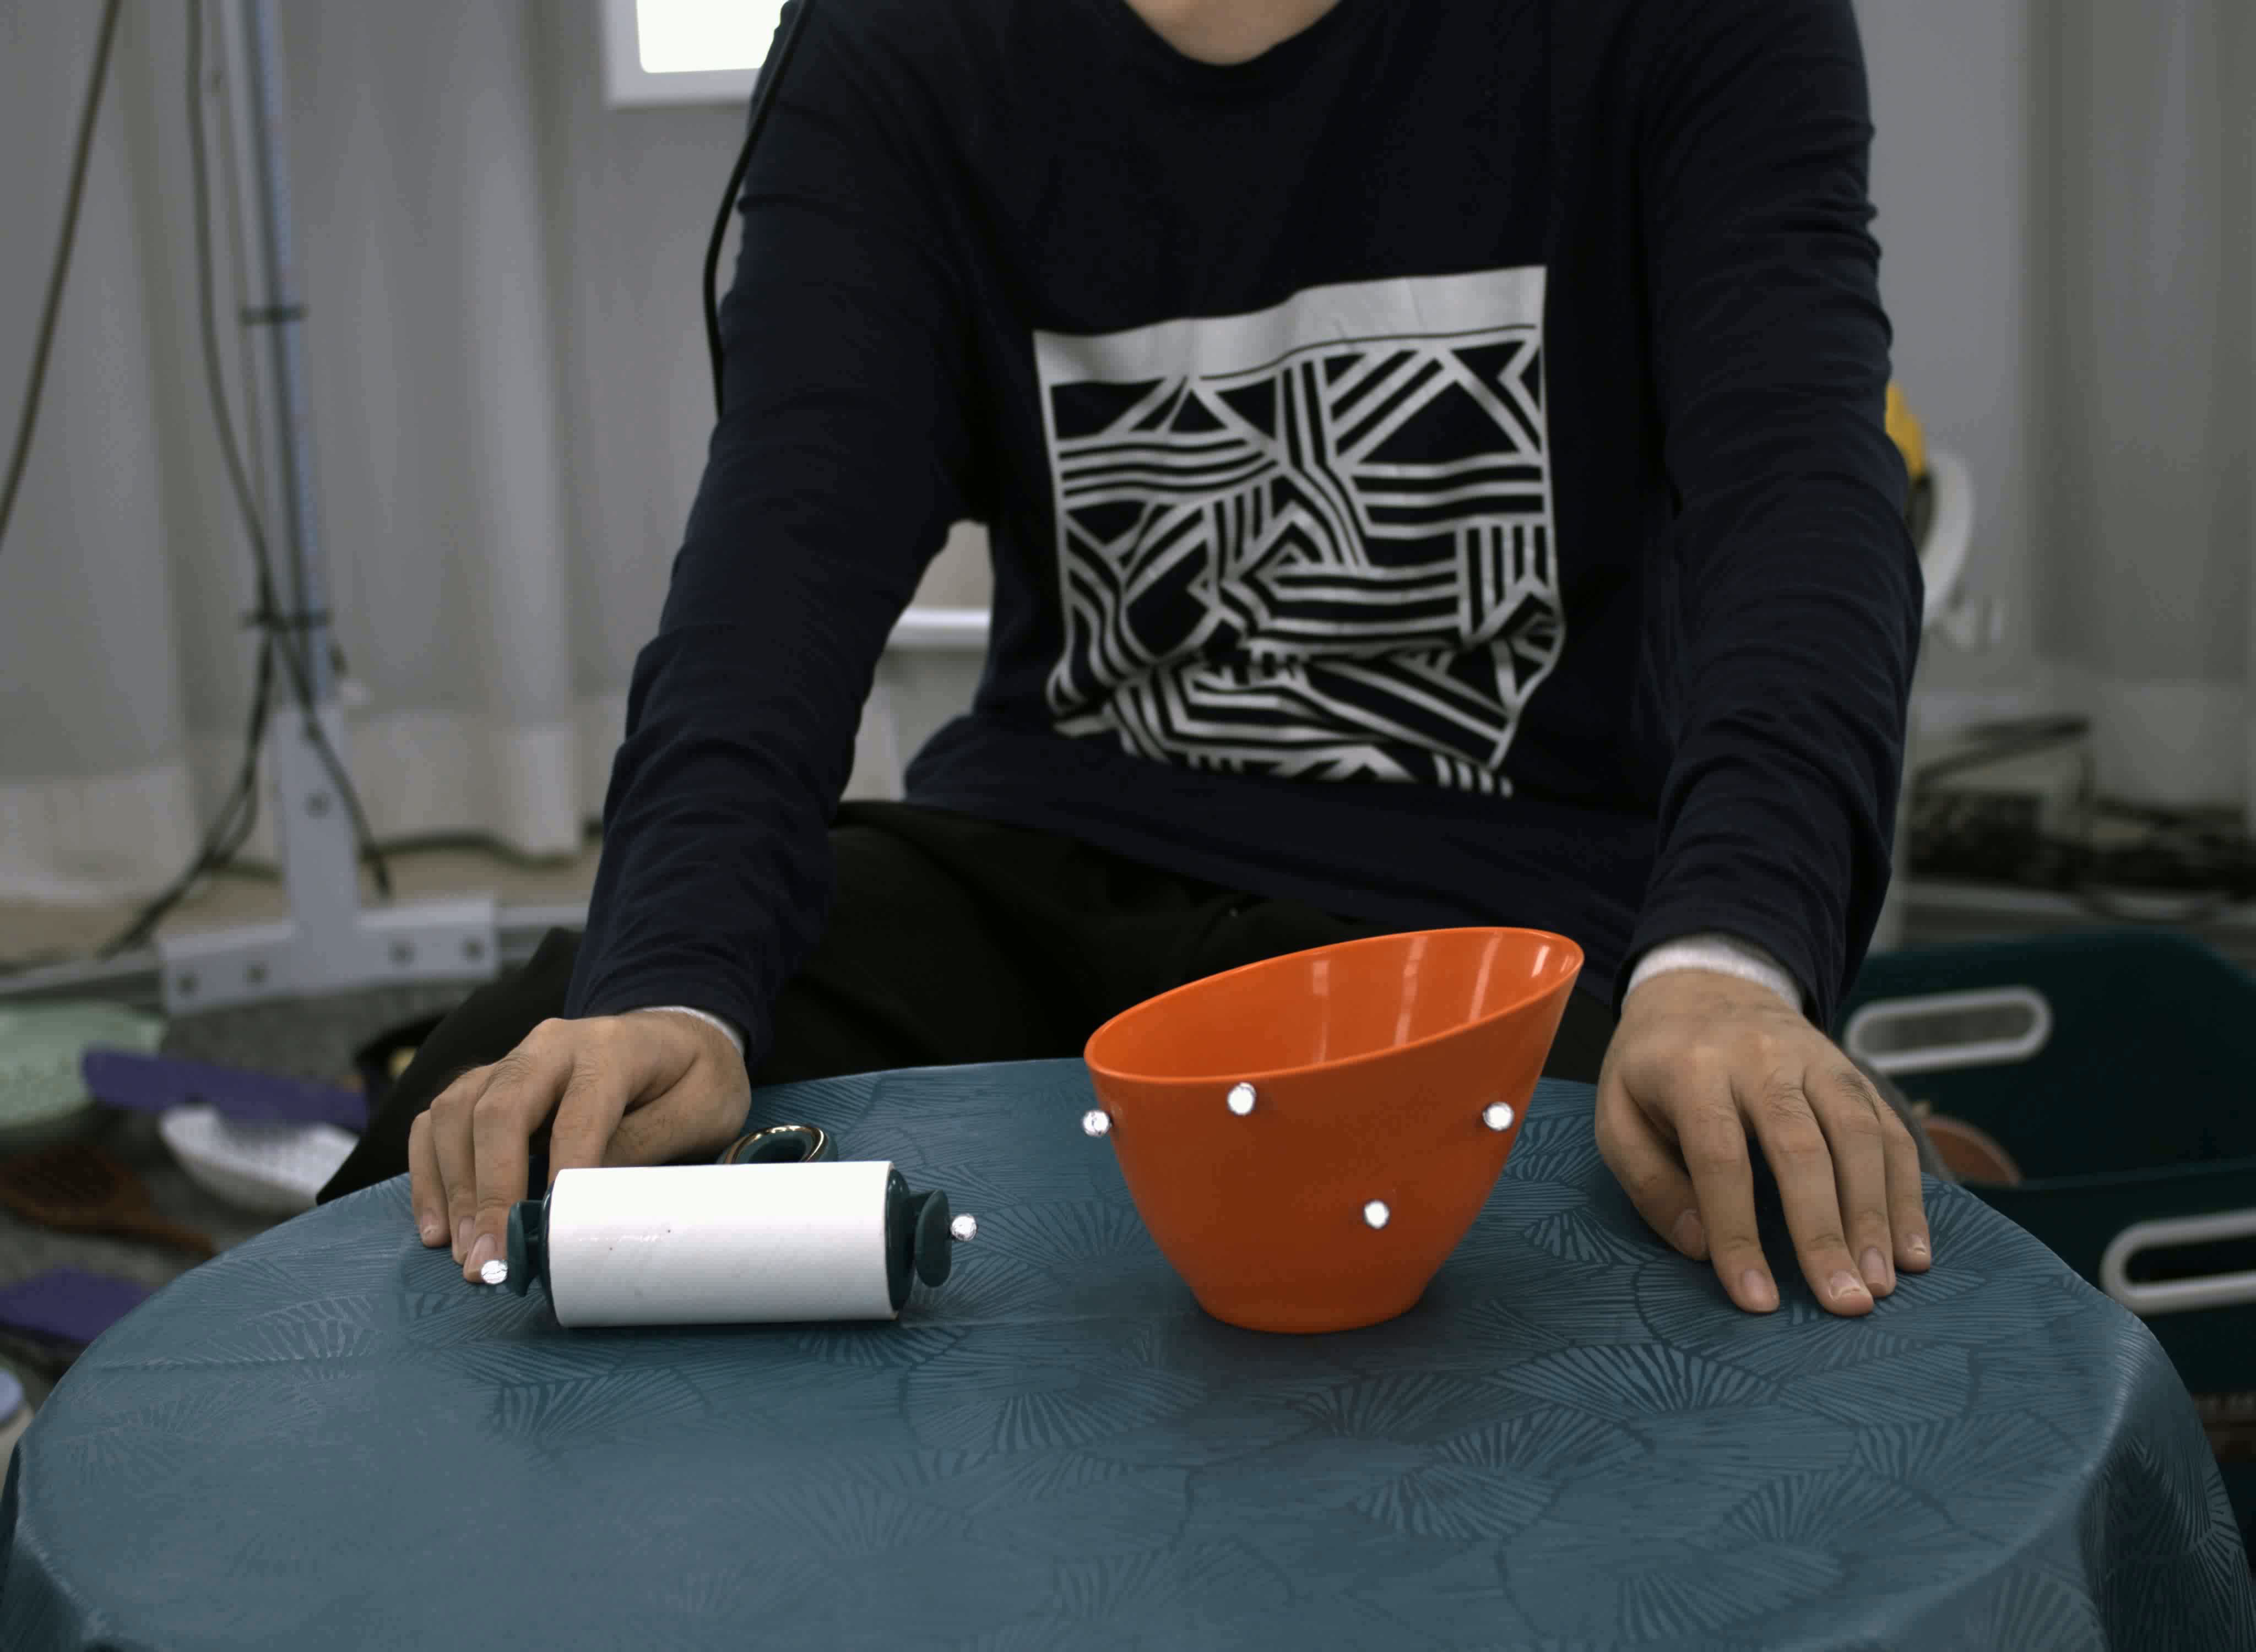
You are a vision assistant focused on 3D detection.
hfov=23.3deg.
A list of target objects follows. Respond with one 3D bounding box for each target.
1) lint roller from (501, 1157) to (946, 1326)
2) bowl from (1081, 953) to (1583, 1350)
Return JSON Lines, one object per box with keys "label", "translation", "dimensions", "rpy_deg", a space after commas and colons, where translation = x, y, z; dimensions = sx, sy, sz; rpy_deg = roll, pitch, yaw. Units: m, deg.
{"label": "lint roller", "translation": [-0.115, 0.111, 1.681], "dimensions": [0.134, 0.048, 0.181], "rpy_deg": [-2, 10, 4]}
{"label": "bowl", "translation": [0.060, 0.095, 1.601], "dimensions": [0.147, 0.104, 0.149], "rpy_deg": [-2, 12, 0]}
